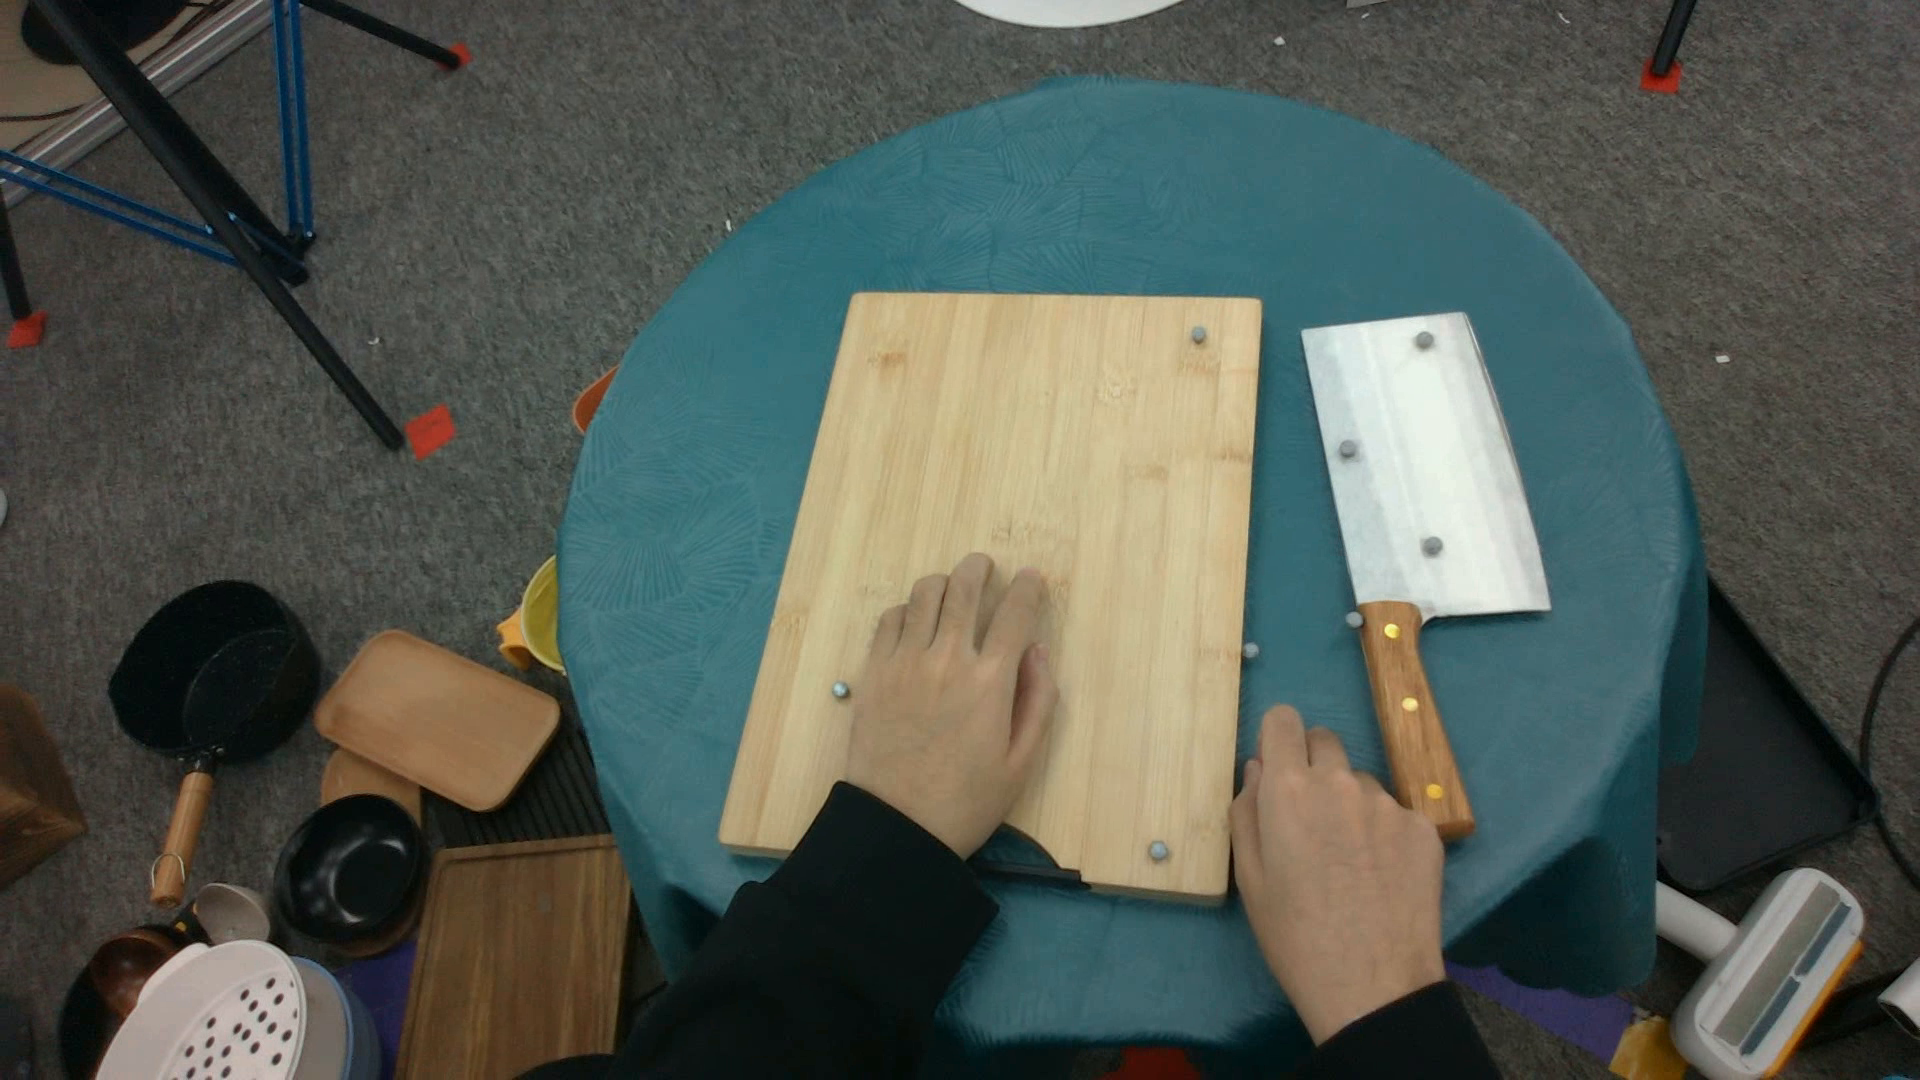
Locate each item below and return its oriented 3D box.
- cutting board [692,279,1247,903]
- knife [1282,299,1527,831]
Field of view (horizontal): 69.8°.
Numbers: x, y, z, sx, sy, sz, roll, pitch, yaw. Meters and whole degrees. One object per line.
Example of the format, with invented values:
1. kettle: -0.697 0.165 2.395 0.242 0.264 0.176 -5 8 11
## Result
1. cutting board: 0.018 0.005 0.717 0.250 0.023 0.350 2 60 11
2. knife: 0.229 -0.004 0.689 0.093 0.021 0.307 -5 57 4
